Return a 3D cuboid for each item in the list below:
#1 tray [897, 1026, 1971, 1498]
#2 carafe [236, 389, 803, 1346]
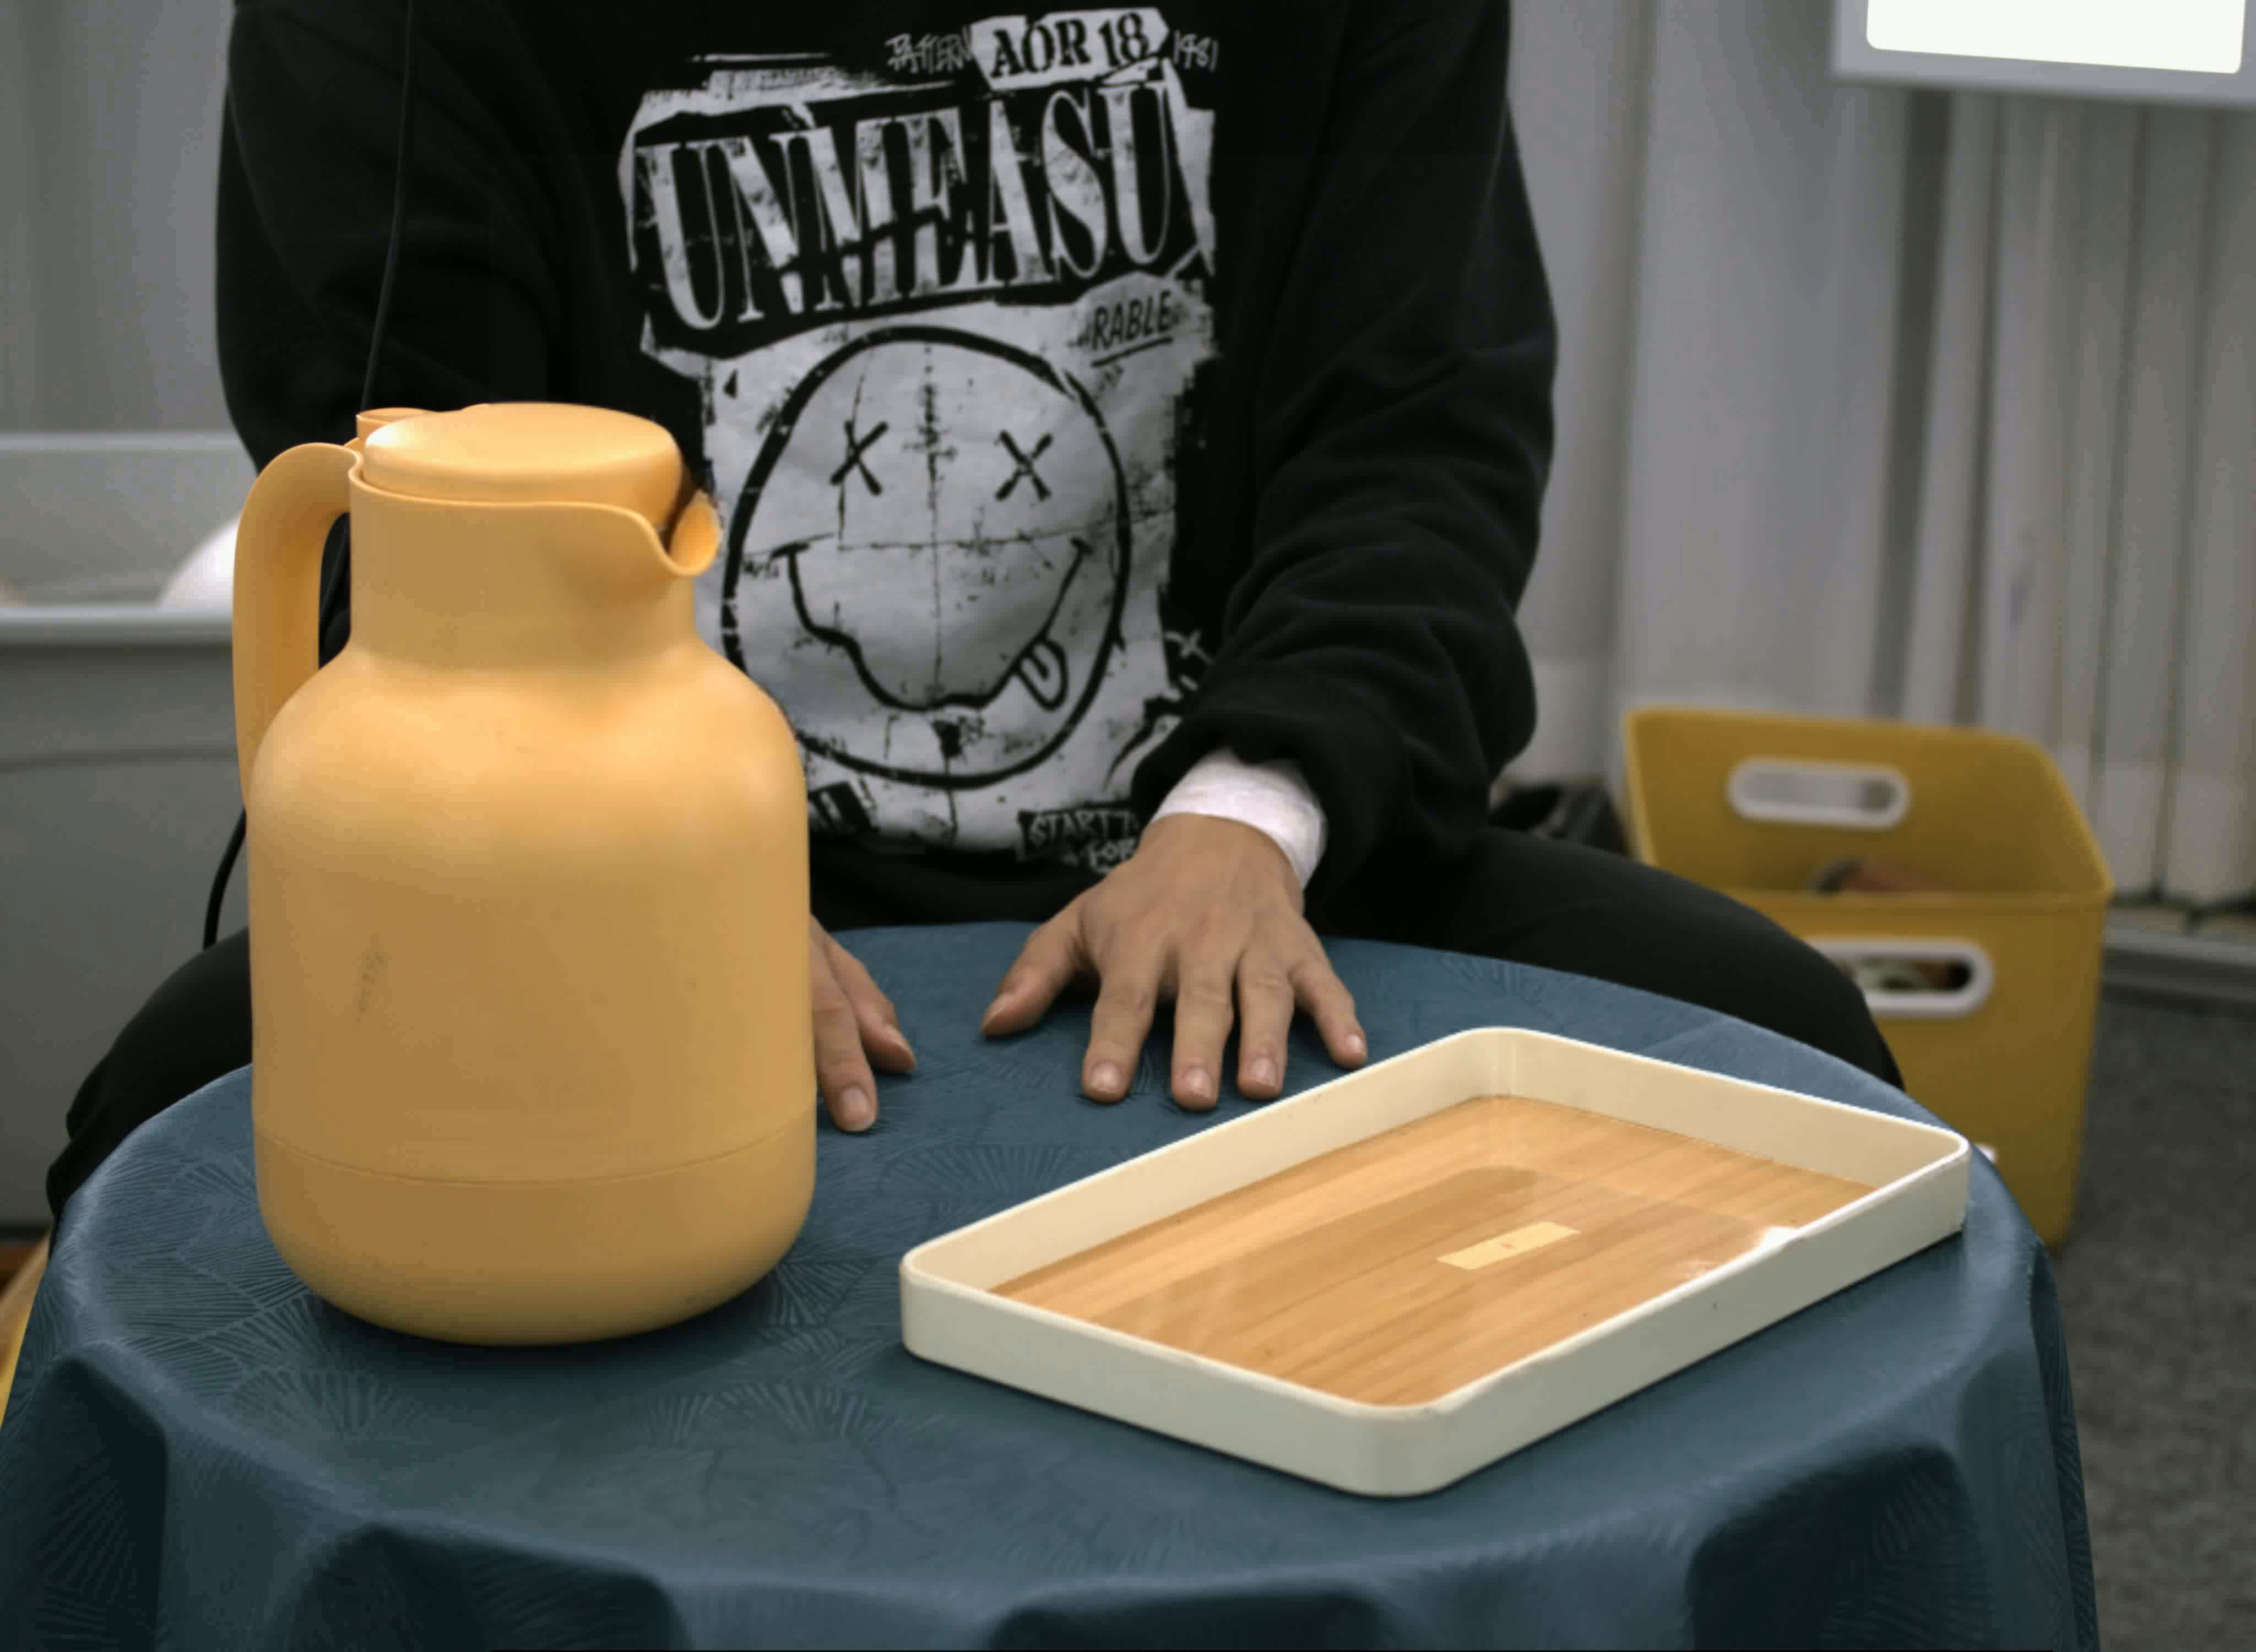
[{"bbox_3d":[0.094,0.121,1.543,0.189,0.027,0.301,13,20,37],"label":"tray"},{"bbox_3d":[-0.185,0.003,1.518,0.164,0.262,0.199,-12,21,-43],"label":"carafe"}]
